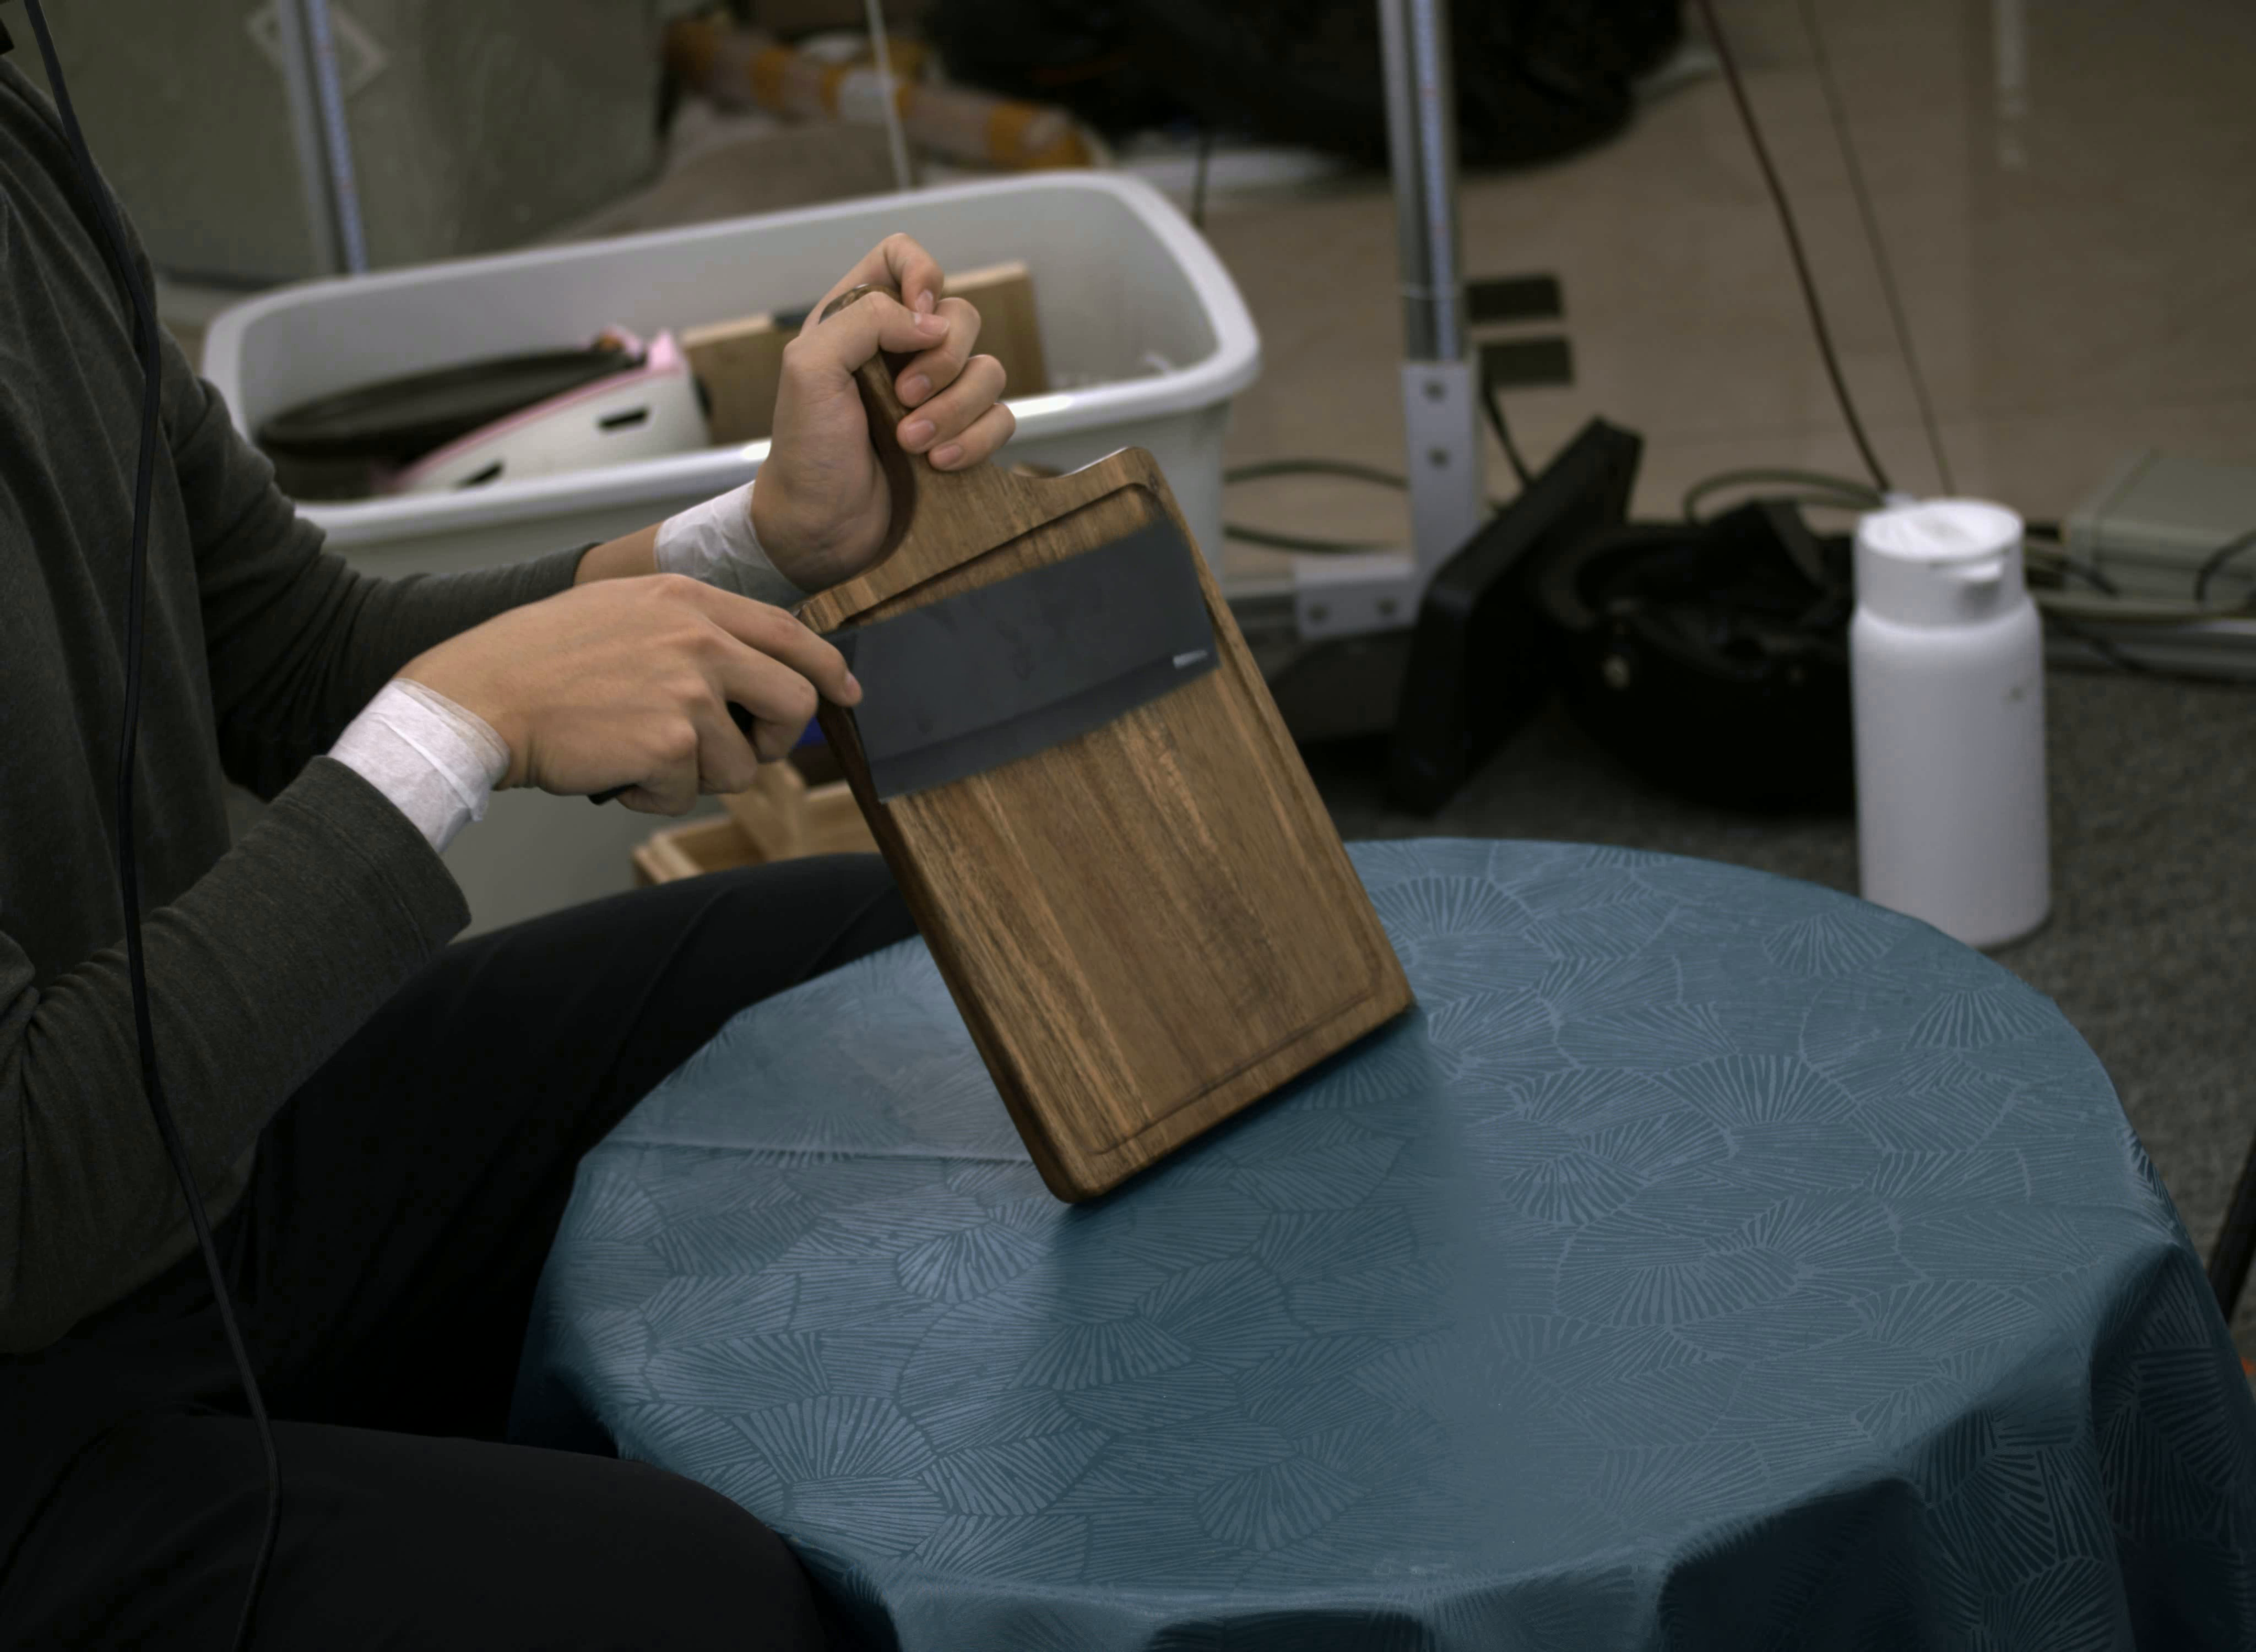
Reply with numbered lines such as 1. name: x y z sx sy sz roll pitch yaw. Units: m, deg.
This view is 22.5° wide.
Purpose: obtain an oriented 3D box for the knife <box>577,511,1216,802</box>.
1. knife: -0.083 -0.054 2.125 0.300 0.081 0.021 -16 6 -39

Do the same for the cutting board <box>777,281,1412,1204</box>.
1. cutting board: -0.031 -0.049 2.182 0.199 0.353 0.023 -30 6 -39
